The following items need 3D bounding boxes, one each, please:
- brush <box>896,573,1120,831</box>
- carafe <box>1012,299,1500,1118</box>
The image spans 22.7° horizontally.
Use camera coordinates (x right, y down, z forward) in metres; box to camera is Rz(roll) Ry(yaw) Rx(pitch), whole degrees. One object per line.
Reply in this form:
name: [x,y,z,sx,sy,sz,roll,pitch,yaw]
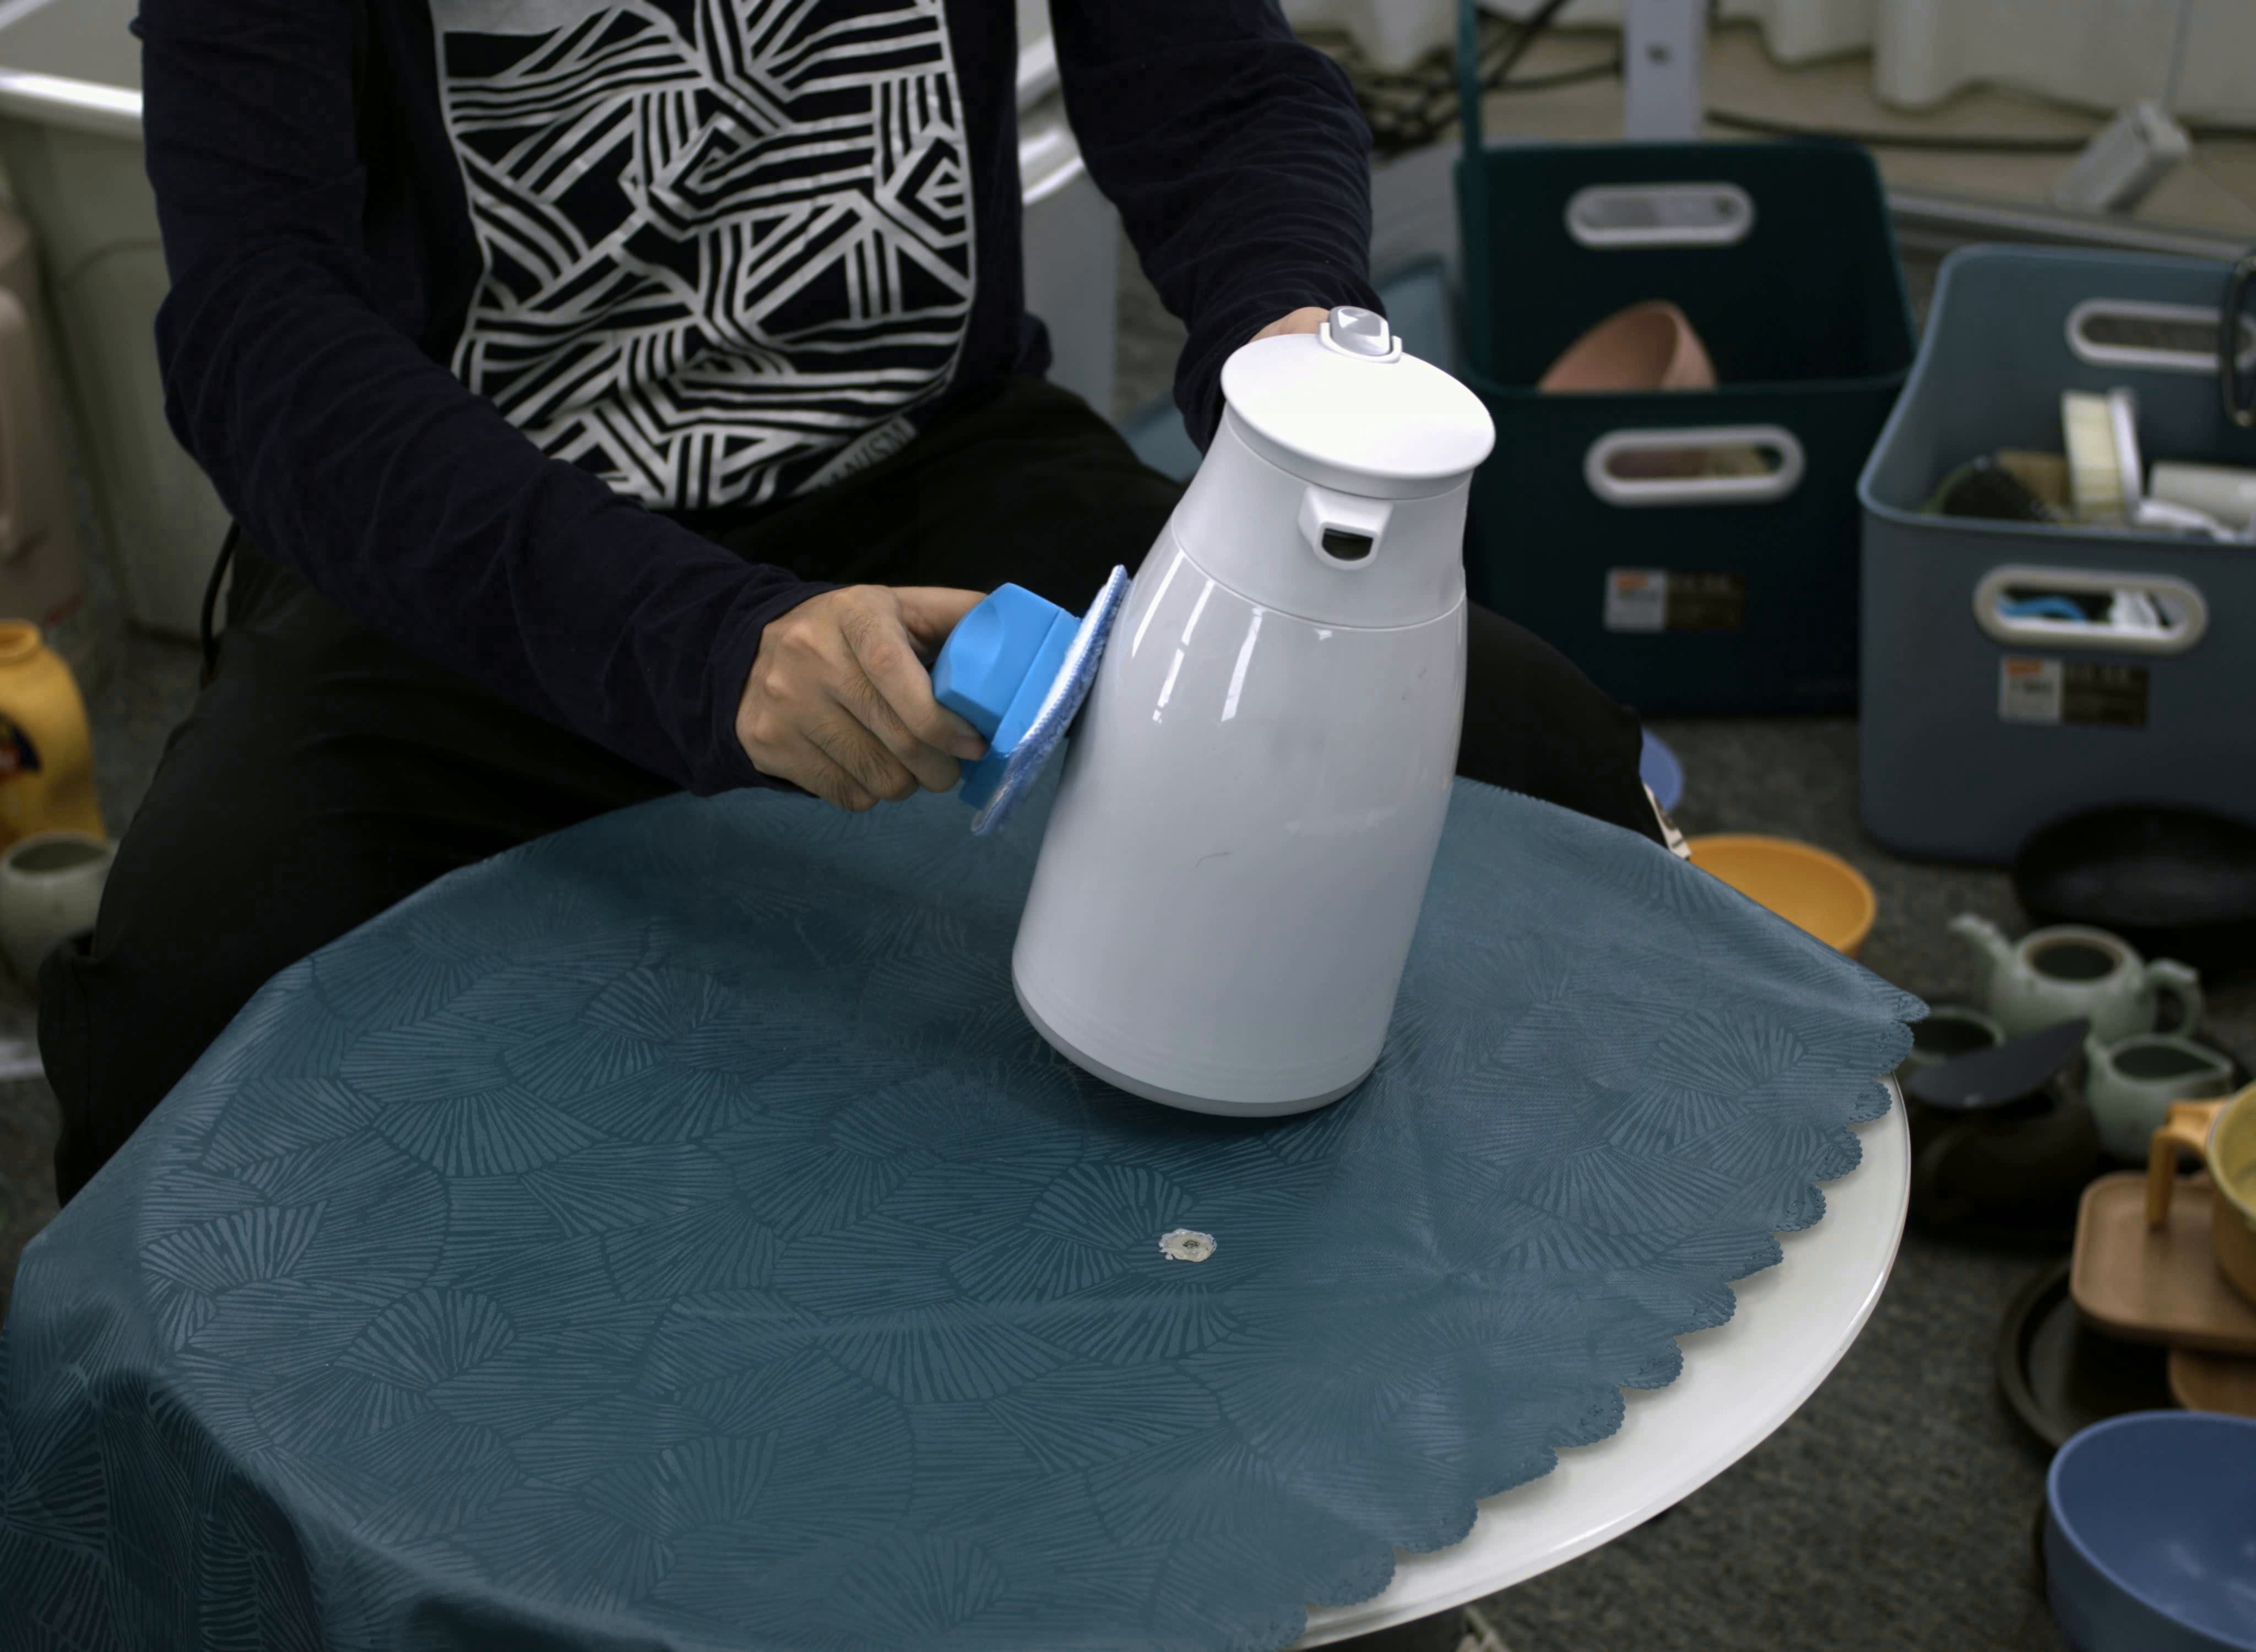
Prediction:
brush: [-0.047,-0.049,1.929,0.056,0.085,0.143,33,-13,-4]
carafe: [0.049,-0.051,1.891,0.132,0.245,0.170,10,28,-7]
